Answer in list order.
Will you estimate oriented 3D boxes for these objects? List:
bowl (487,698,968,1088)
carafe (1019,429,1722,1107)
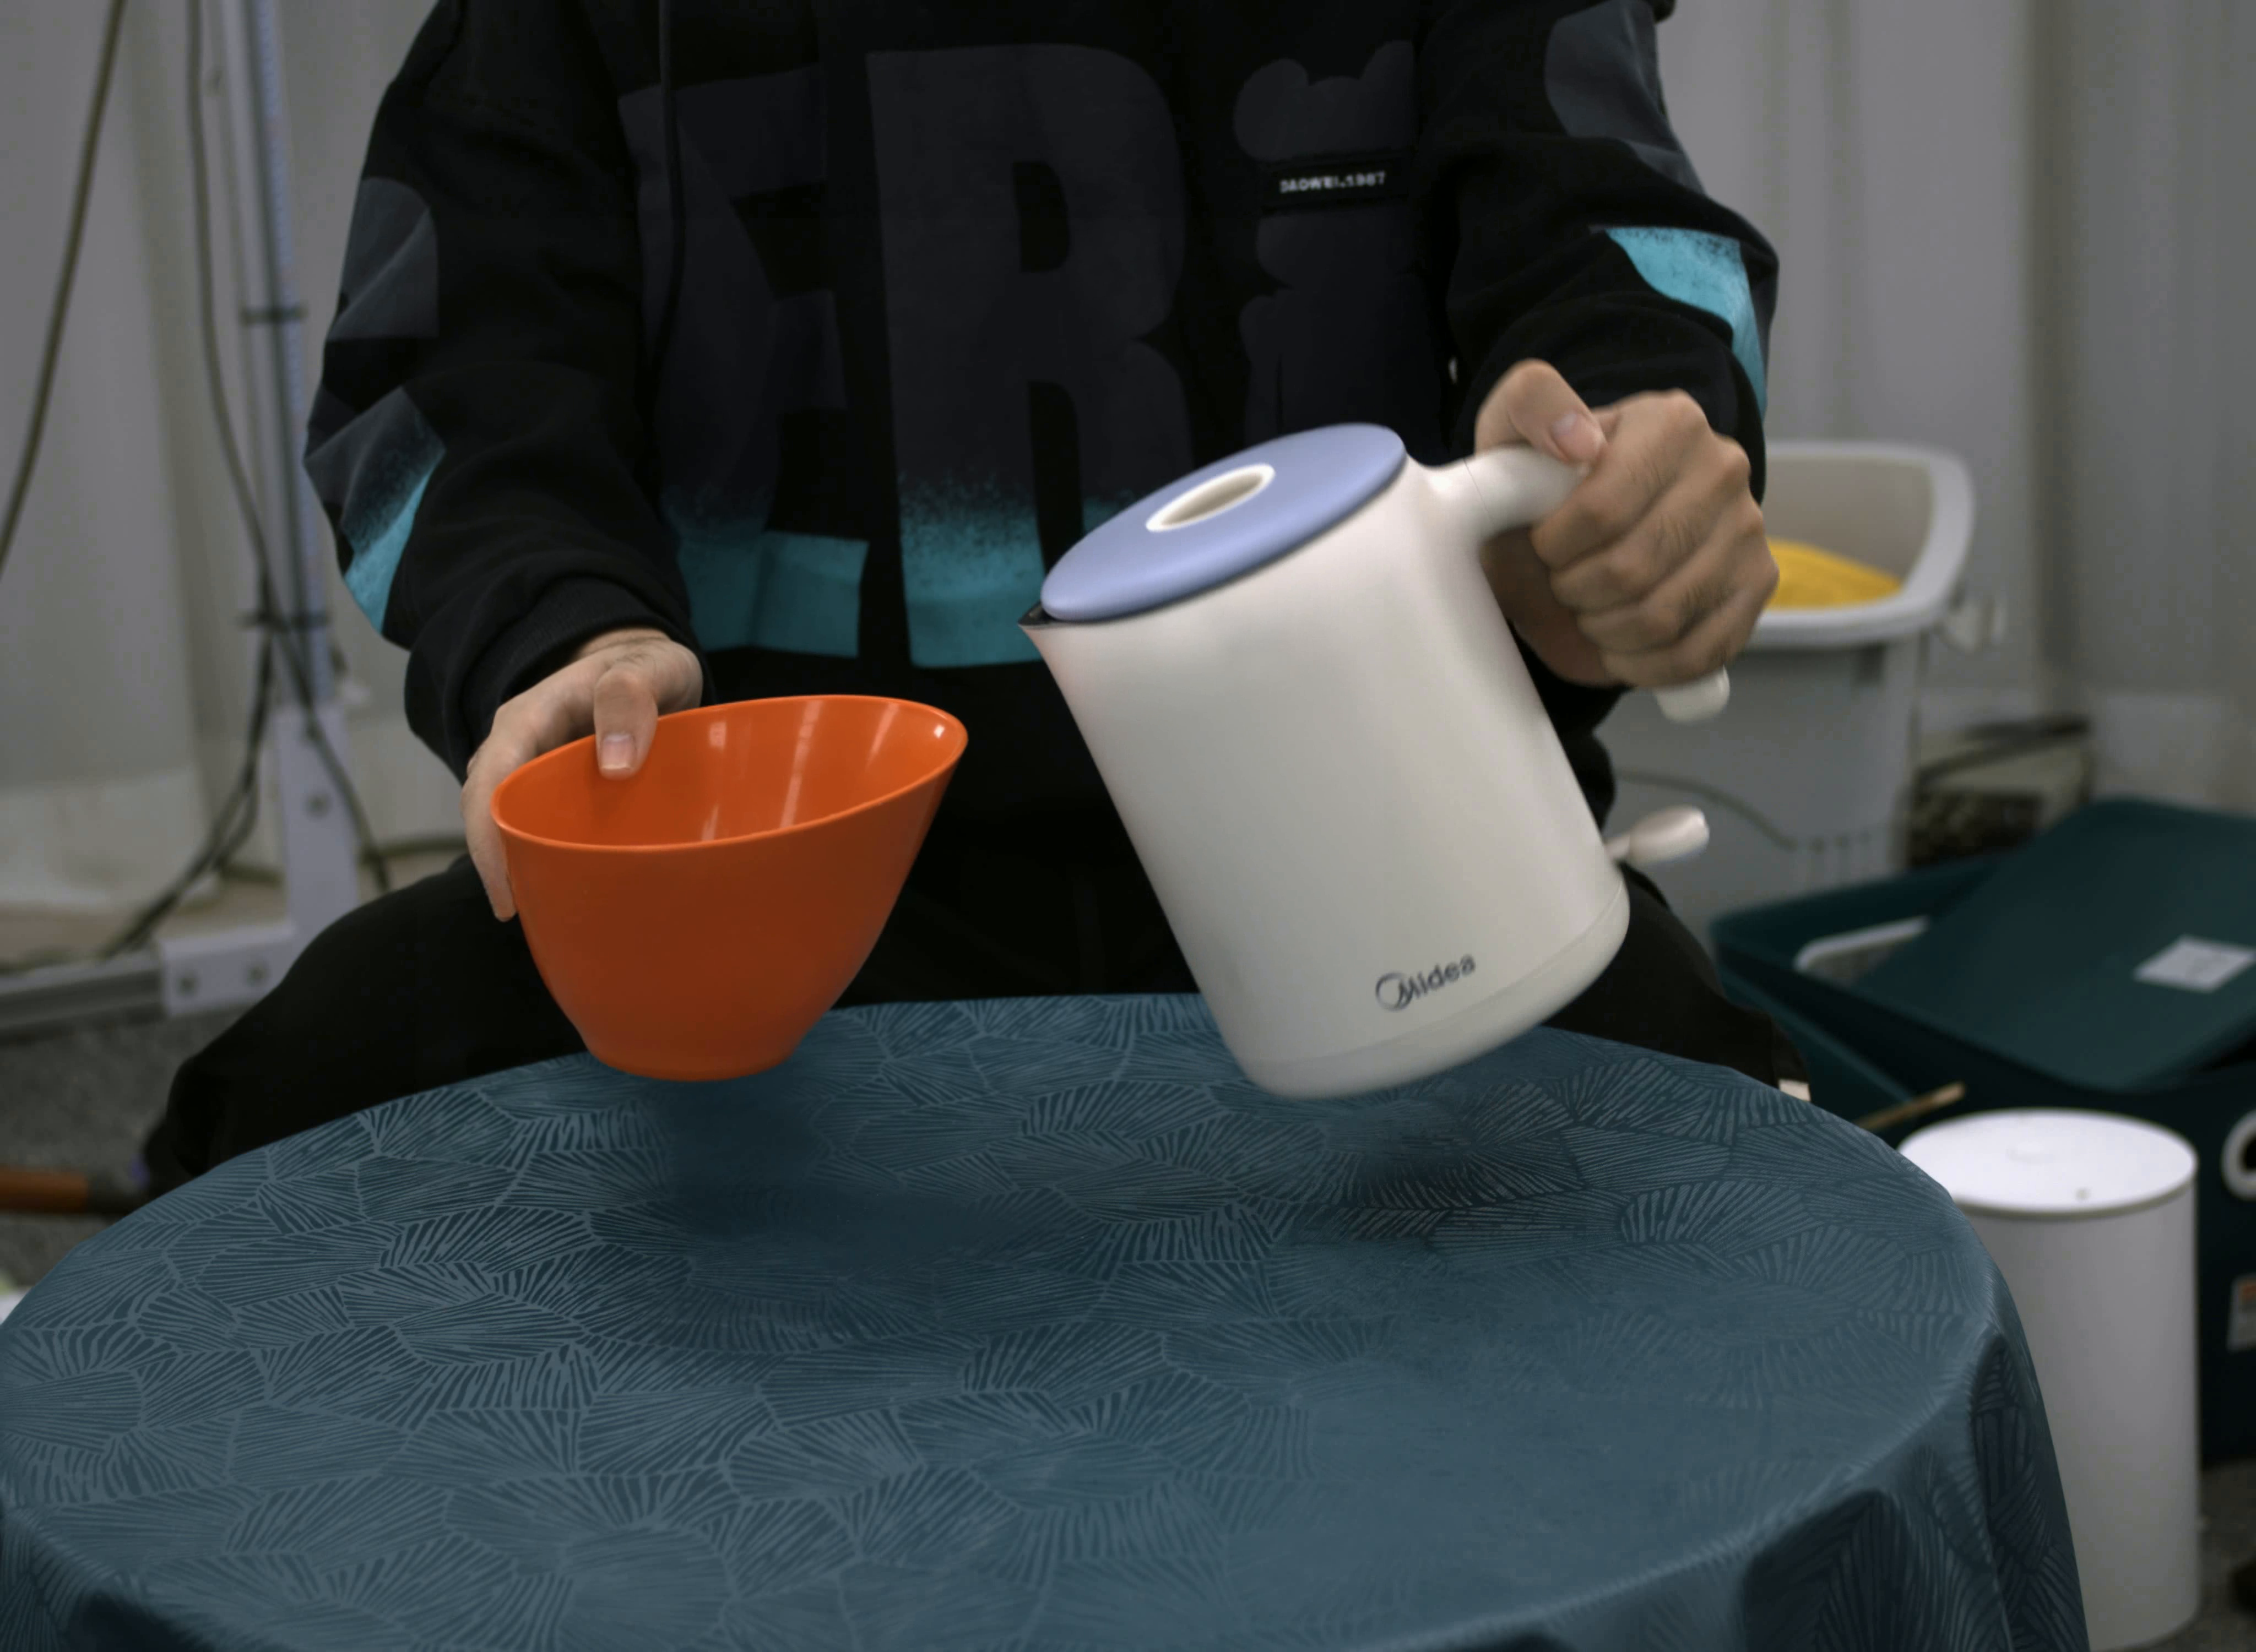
[{"bbox_3d":[-0.125,0.022,1.691,0.147,0.104,0.149,2,20,-1],"label":"bowl"},{"bbox_3d":[0.083,-0.027,1.656,0.190,0.181,0.133,-21,16,1],"label":"carafe"}]
